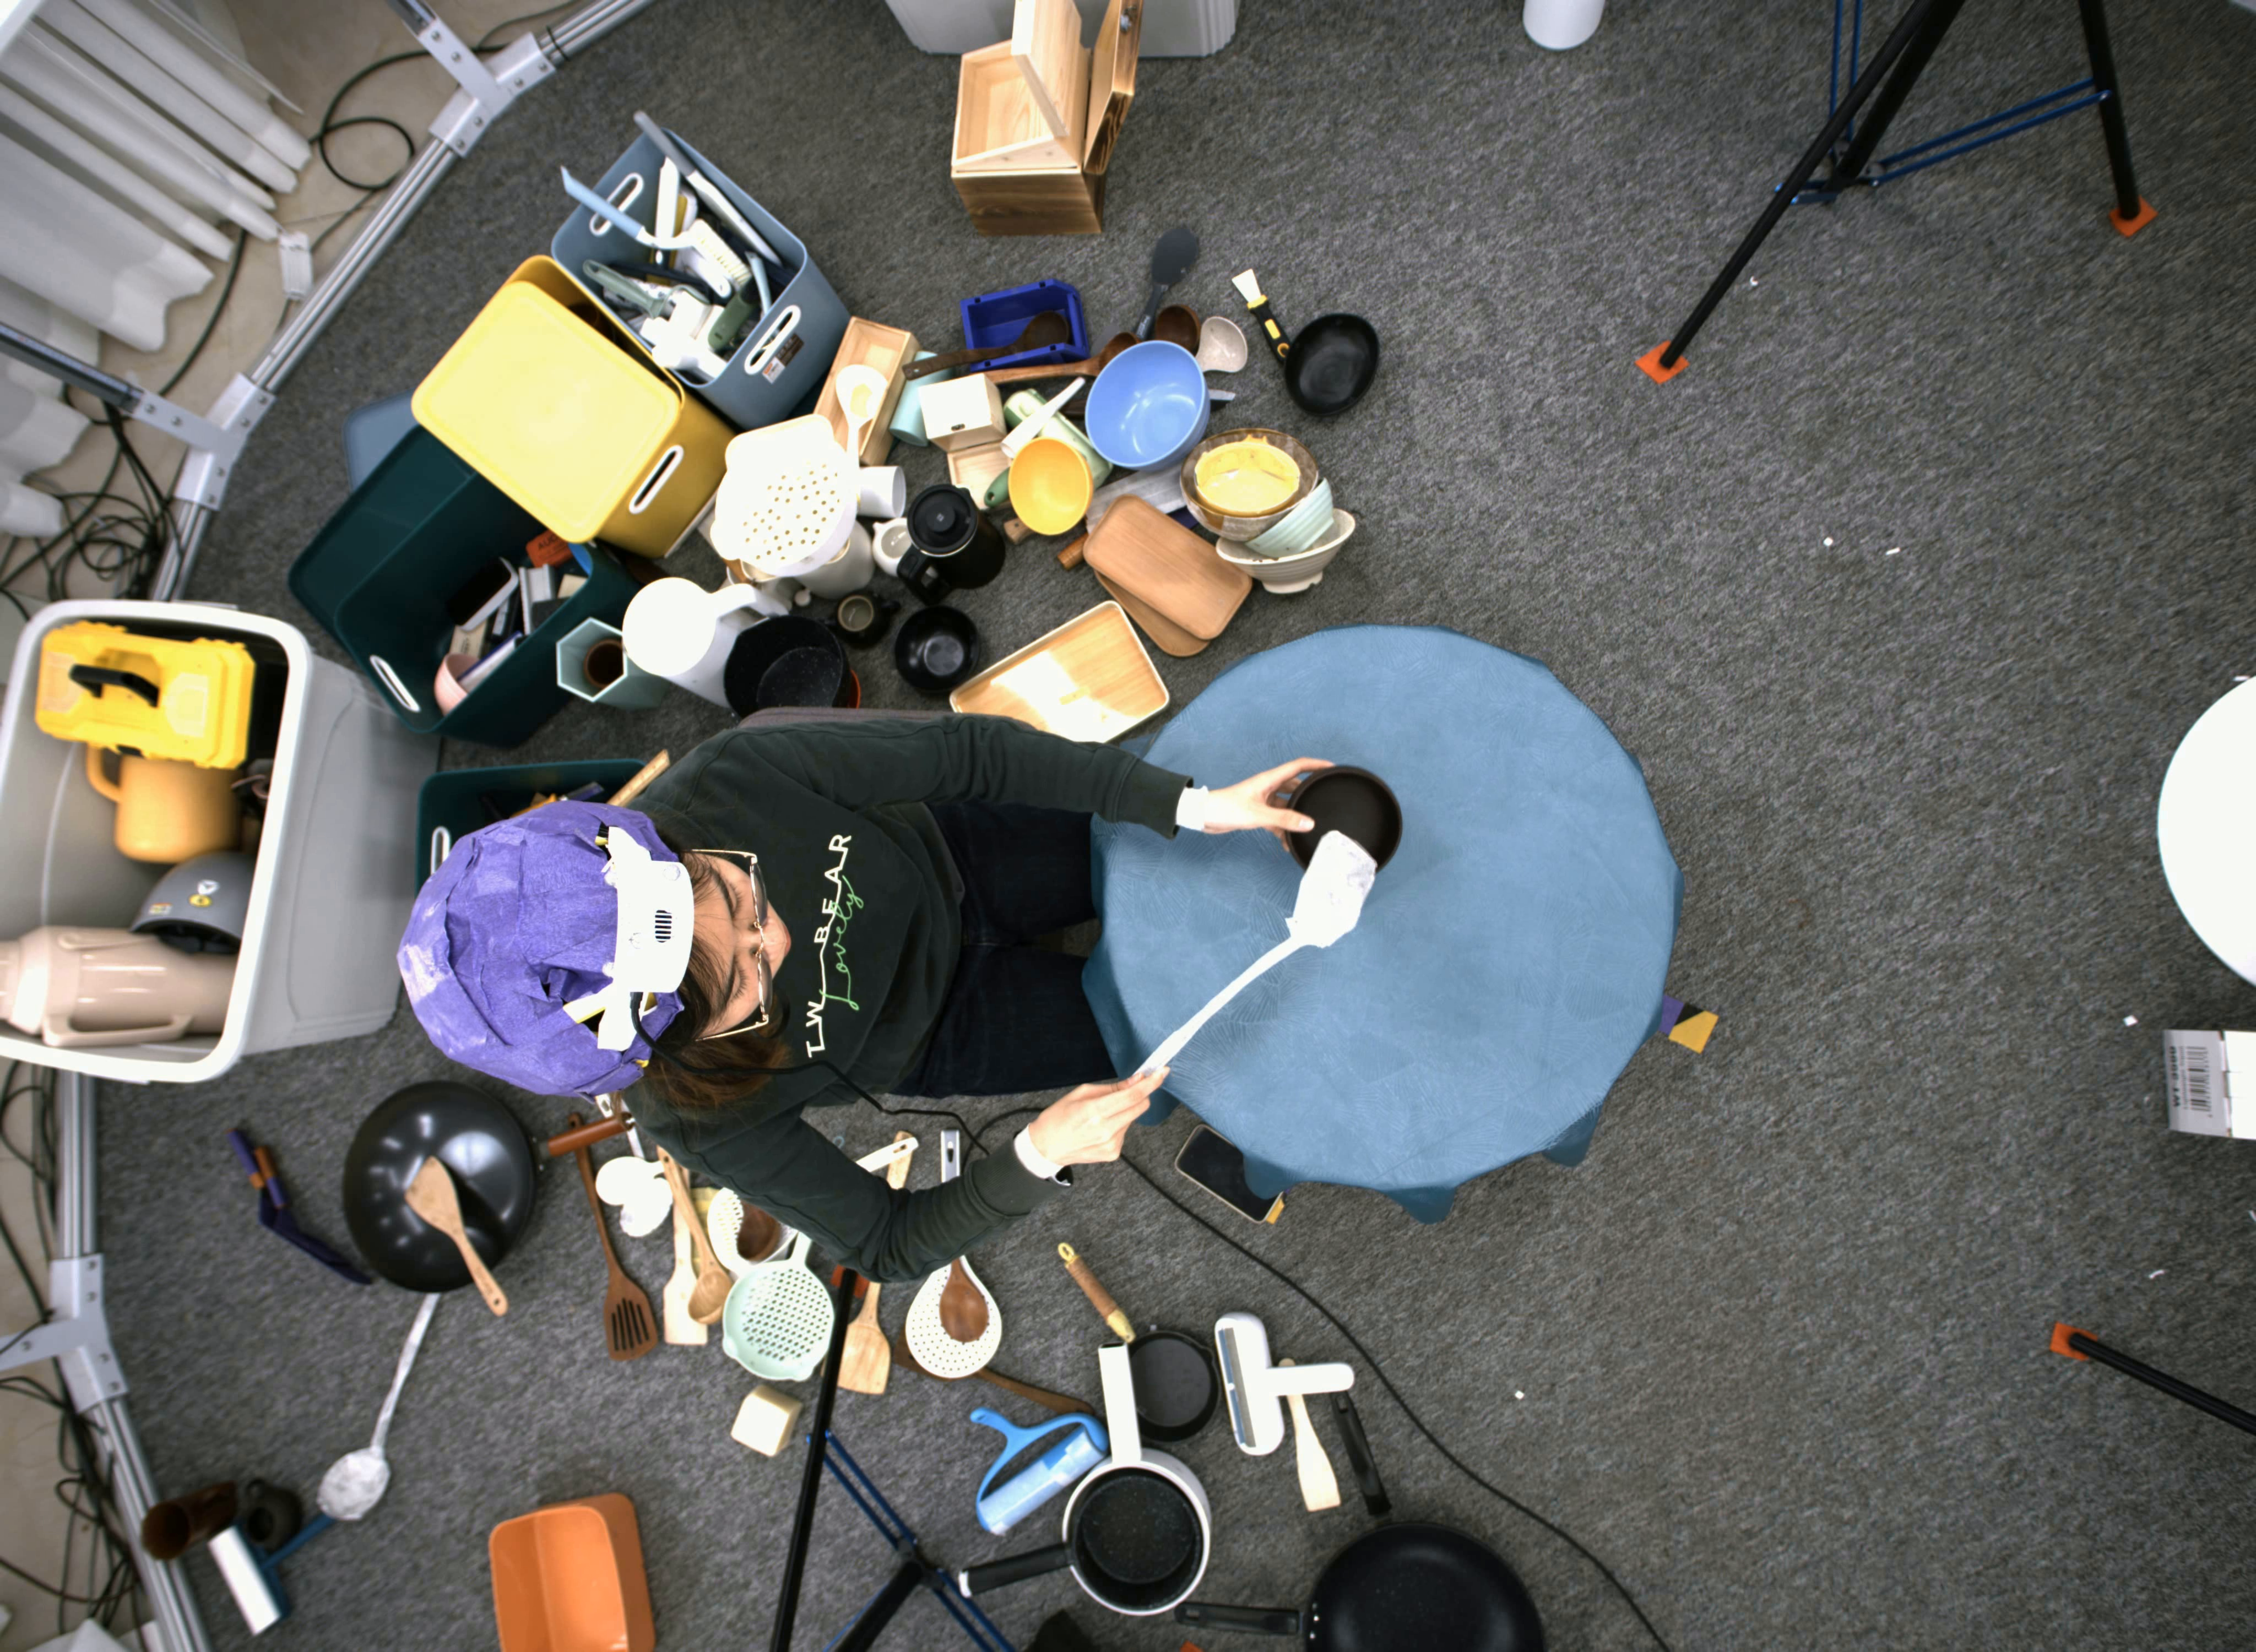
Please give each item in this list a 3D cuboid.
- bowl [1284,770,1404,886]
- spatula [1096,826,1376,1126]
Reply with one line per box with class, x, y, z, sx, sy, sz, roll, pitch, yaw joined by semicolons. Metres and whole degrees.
bowl;0.215;0.000;1.385;0.118;0.069;0.119;1;99;5
spatula;0.092;0.148;1.279;0.366;0.097;0.045;-44;123;5
